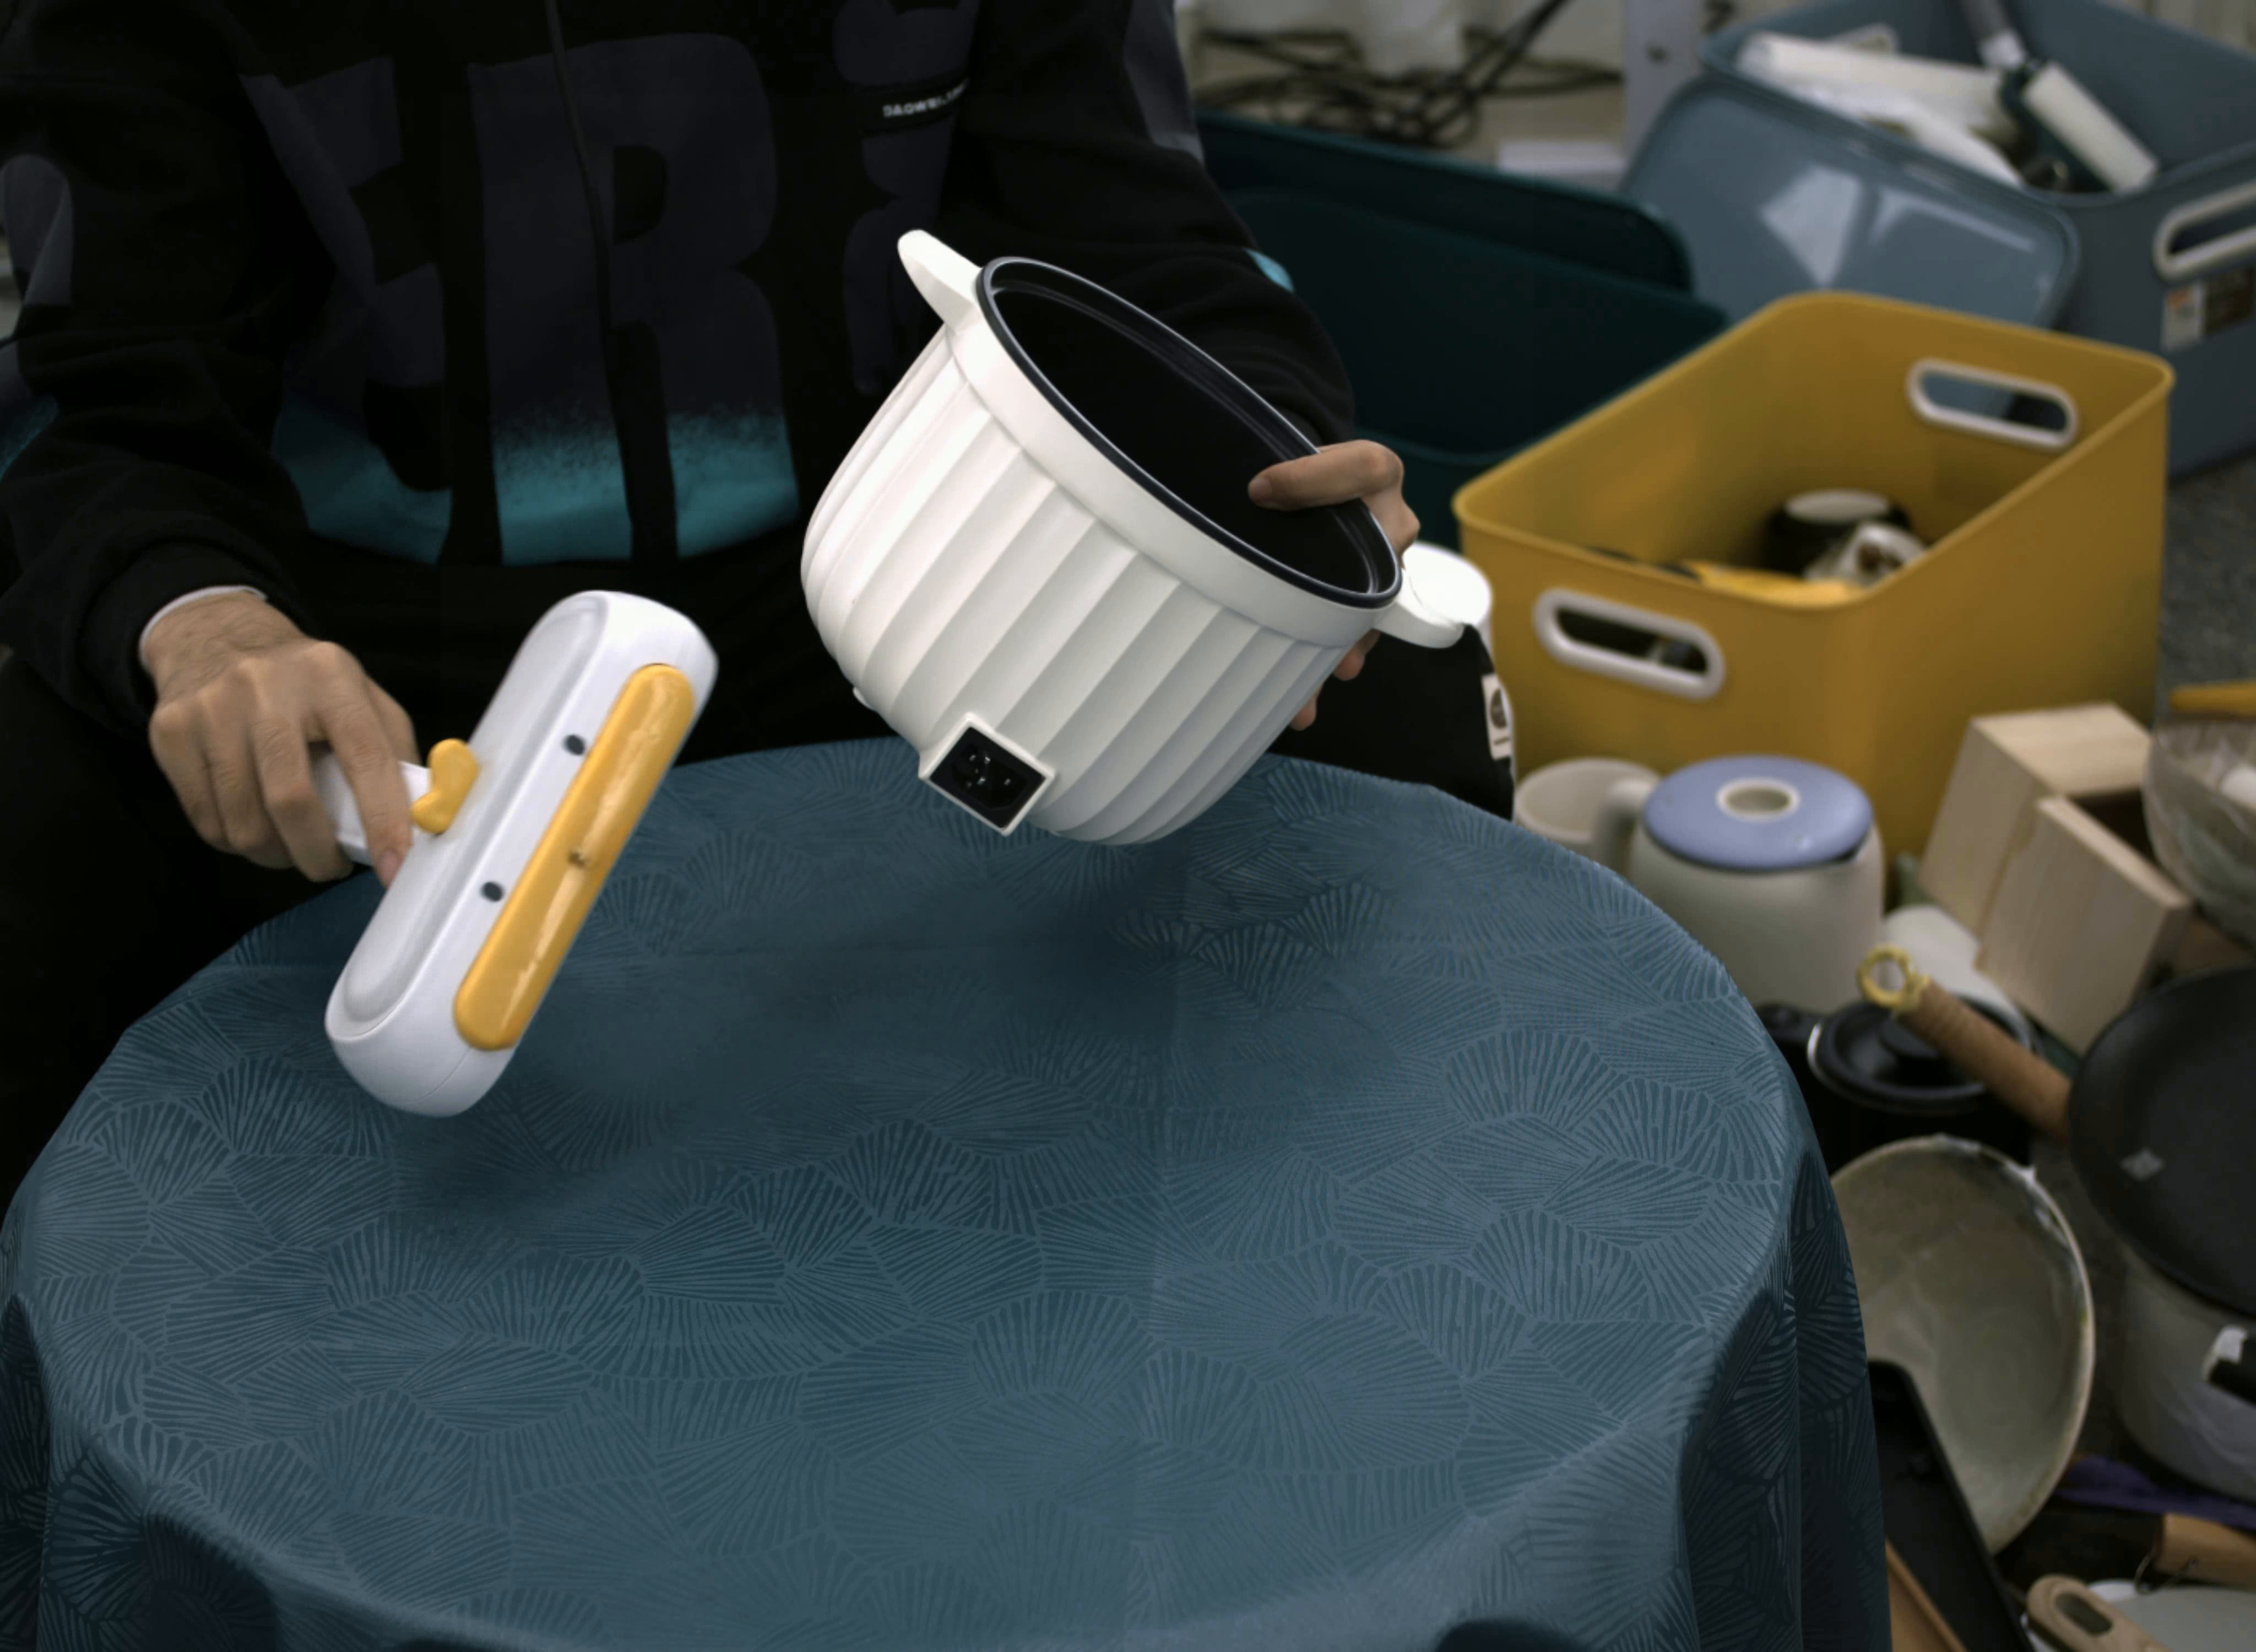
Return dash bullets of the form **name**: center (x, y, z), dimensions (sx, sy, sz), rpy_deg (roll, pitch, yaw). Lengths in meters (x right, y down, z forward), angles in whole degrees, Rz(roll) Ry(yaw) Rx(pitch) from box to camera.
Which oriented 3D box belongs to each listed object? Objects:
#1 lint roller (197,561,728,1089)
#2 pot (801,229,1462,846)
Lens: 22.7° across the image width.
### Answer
- **lint roller**: center (-0.241, -0.007, 1.921), dimensions (0.191, 0.074, 0.196), rpy_deg (2, 63, 45)
- **pot**: center (-0.018, -0.090, 1.947), dimensions (0.239, 0.141, 0.193), rpy_deg (36, 20, -14)
